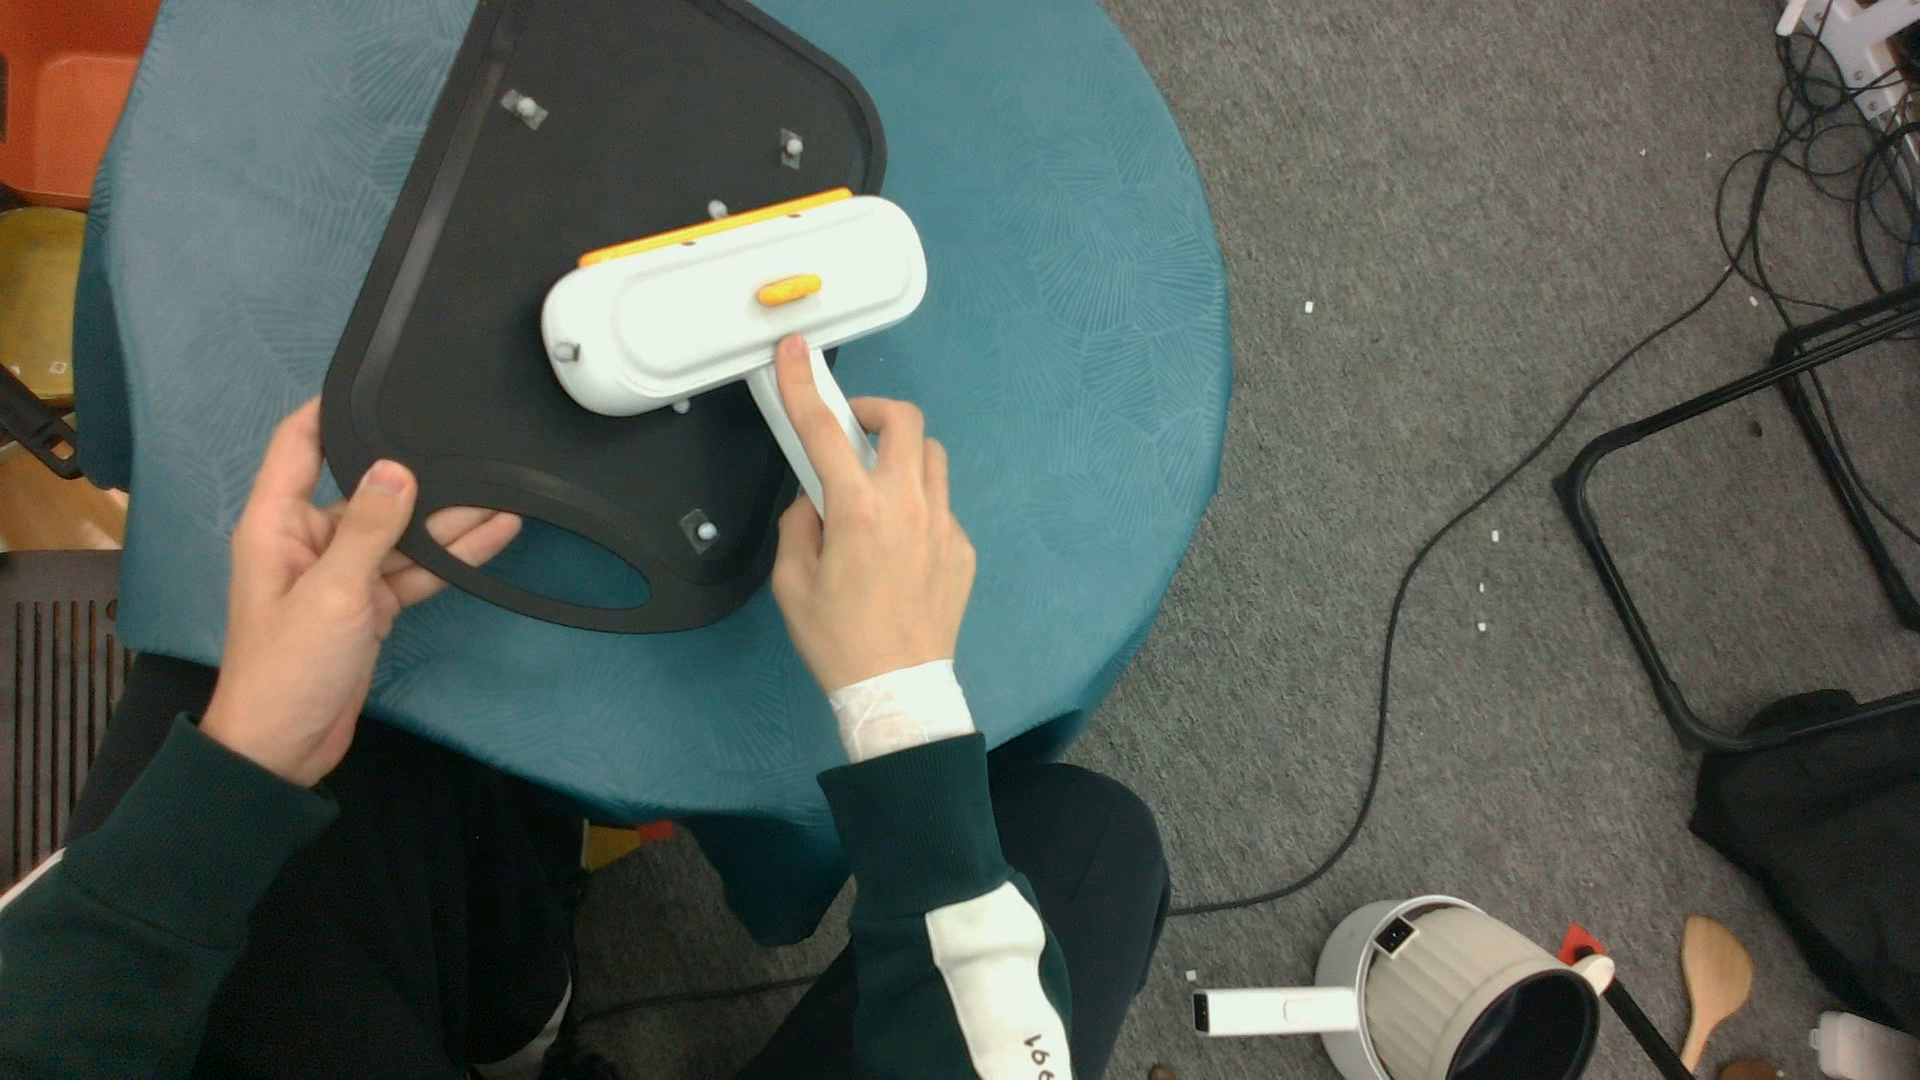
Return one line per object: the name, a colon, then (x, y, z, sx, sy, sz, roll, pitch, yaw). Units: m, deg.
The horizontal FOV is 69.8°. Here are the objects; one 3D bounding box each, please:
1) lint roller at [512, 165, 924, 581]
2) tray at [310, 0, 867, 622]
lint roller: (-0.080, -0.066, 0.631, 0.194, 0.074, 0.192, -34, 103, -41)
tray: (-0.154, -0.125, 0.631, 0.211, 0.010, 0.326, 24, 69, -33)
